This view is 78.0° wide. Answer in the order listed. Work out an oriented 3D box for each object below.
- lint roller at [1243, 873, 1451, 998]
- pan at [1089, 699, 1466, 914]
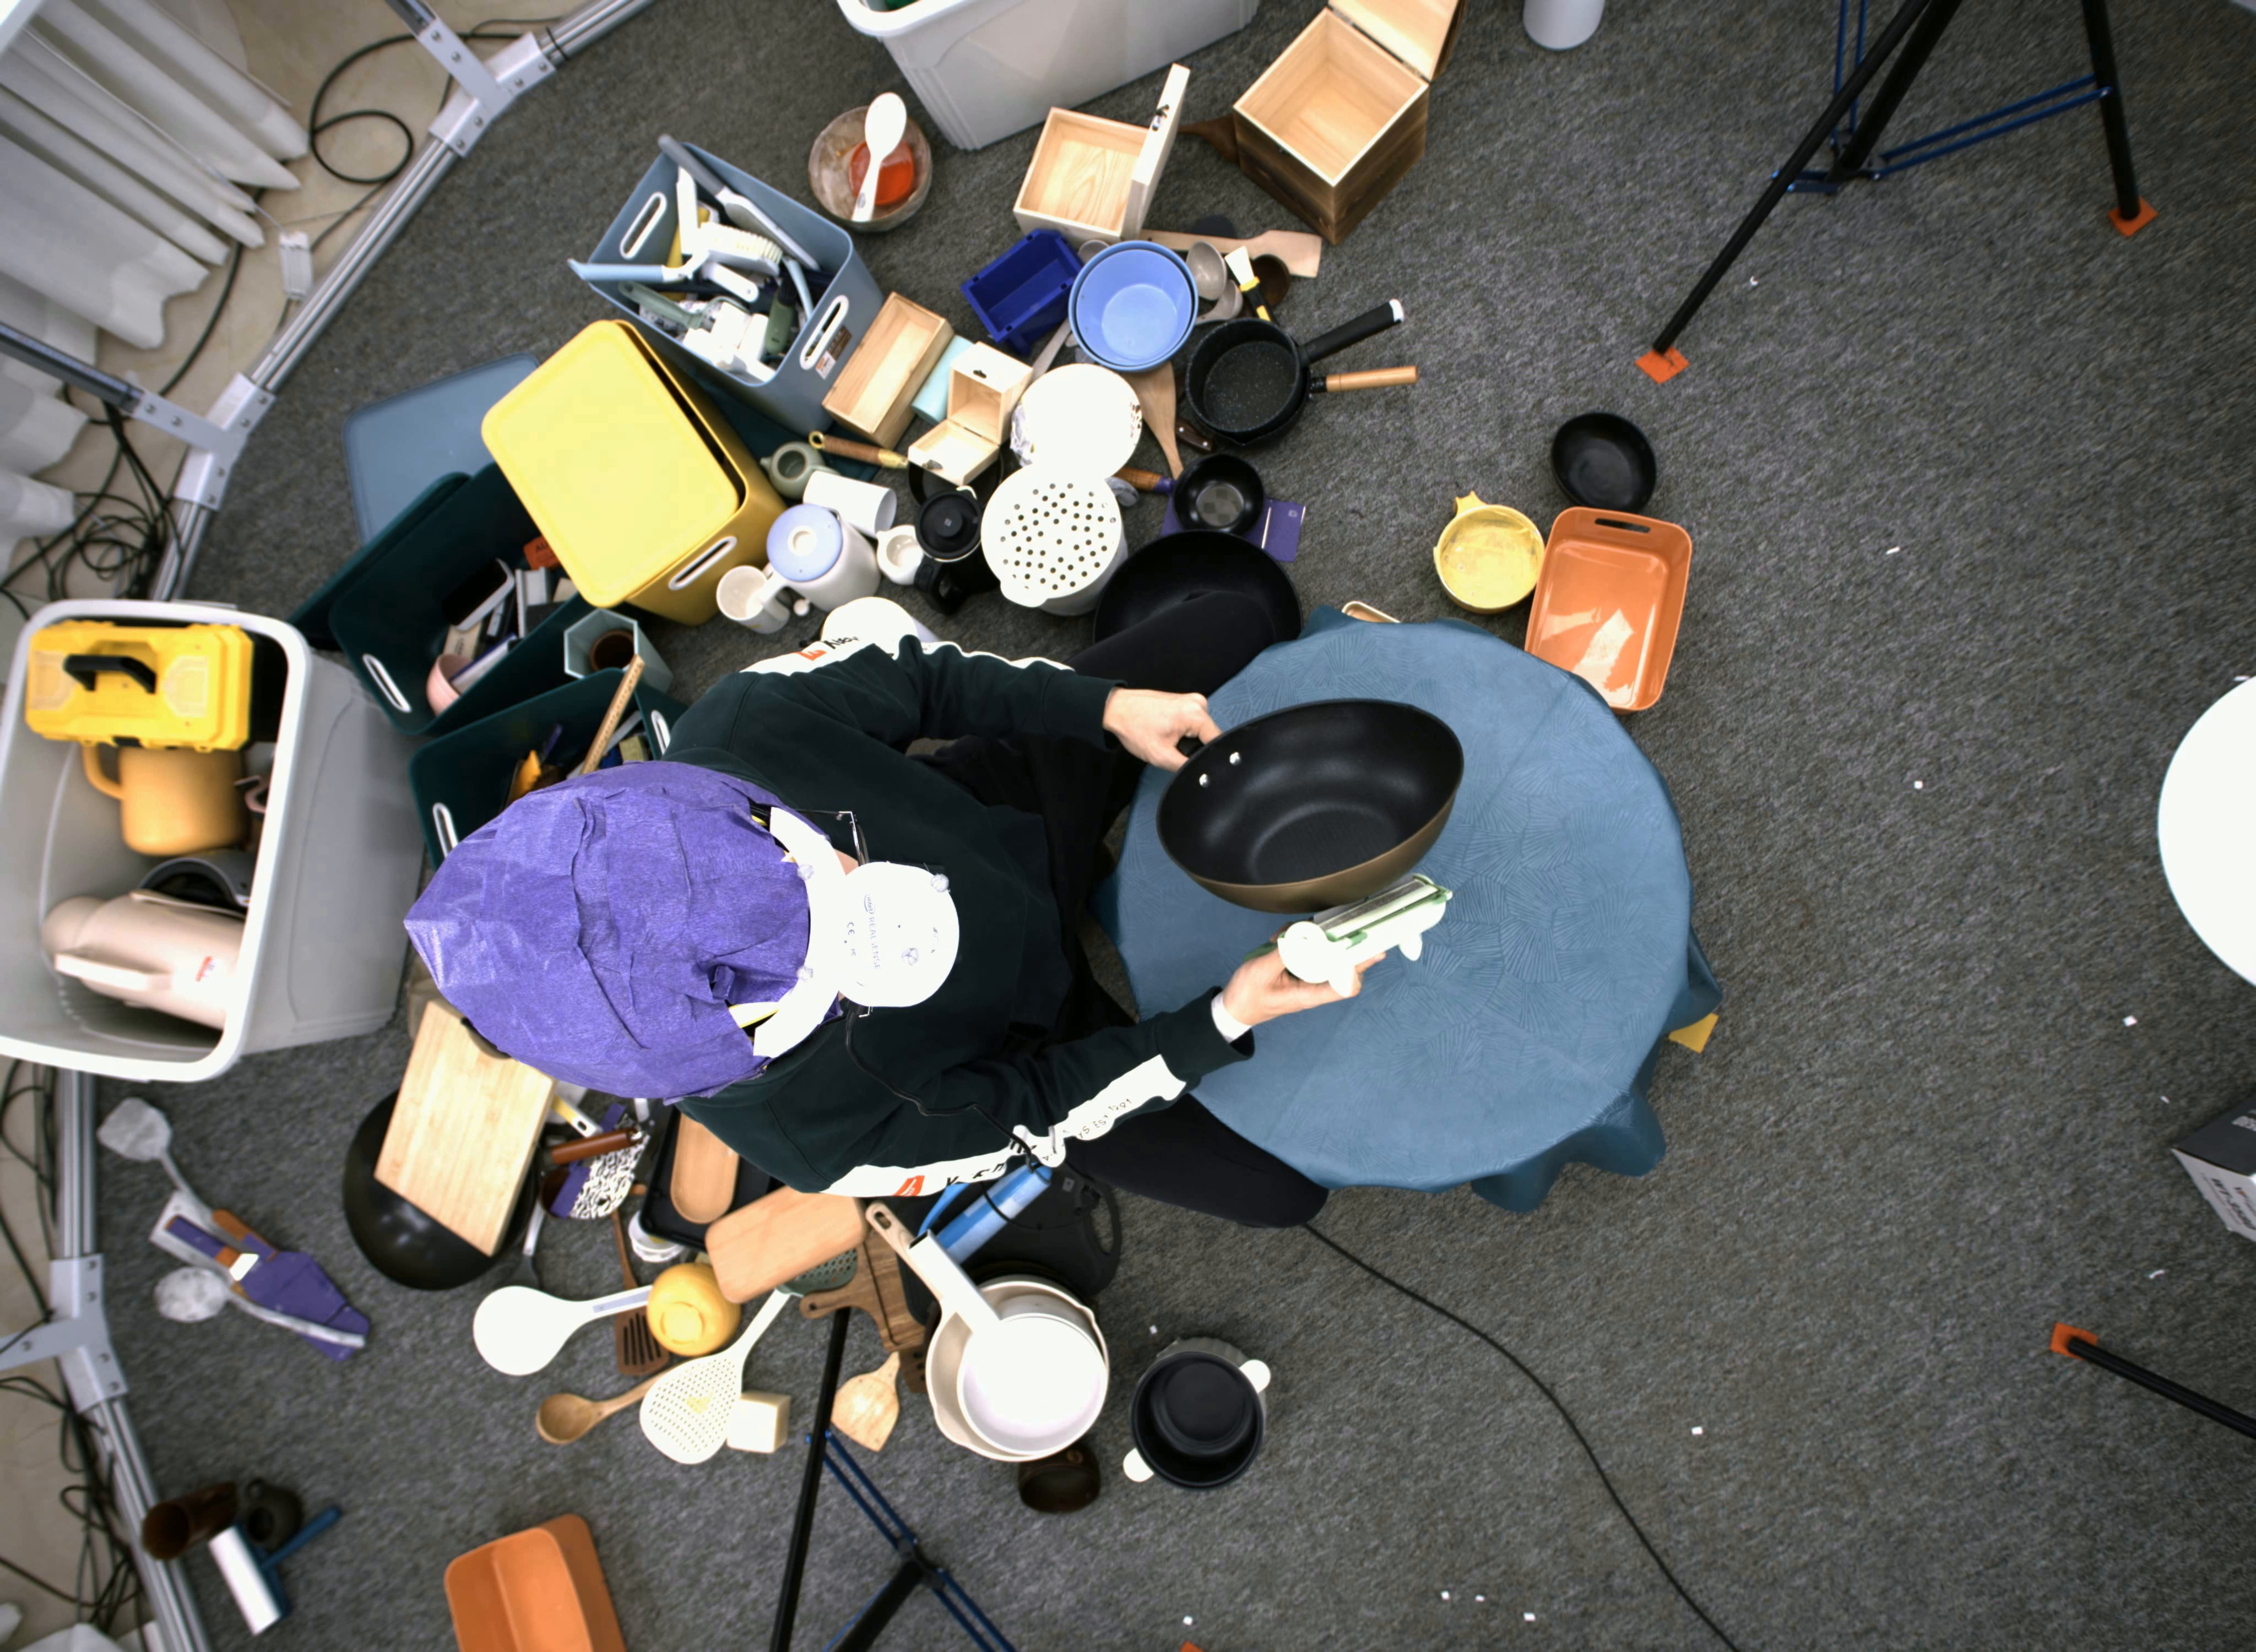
[{"bbox_3d":[0.180,0.119,1.247,0.187,0.195,0.081,-40,75,42],"label":"lint roller"},{"bbox_3d":[0.112,-0.033,1.315,0.284,0.088,0.461,-37,37,-23],"label":"pan"}]
